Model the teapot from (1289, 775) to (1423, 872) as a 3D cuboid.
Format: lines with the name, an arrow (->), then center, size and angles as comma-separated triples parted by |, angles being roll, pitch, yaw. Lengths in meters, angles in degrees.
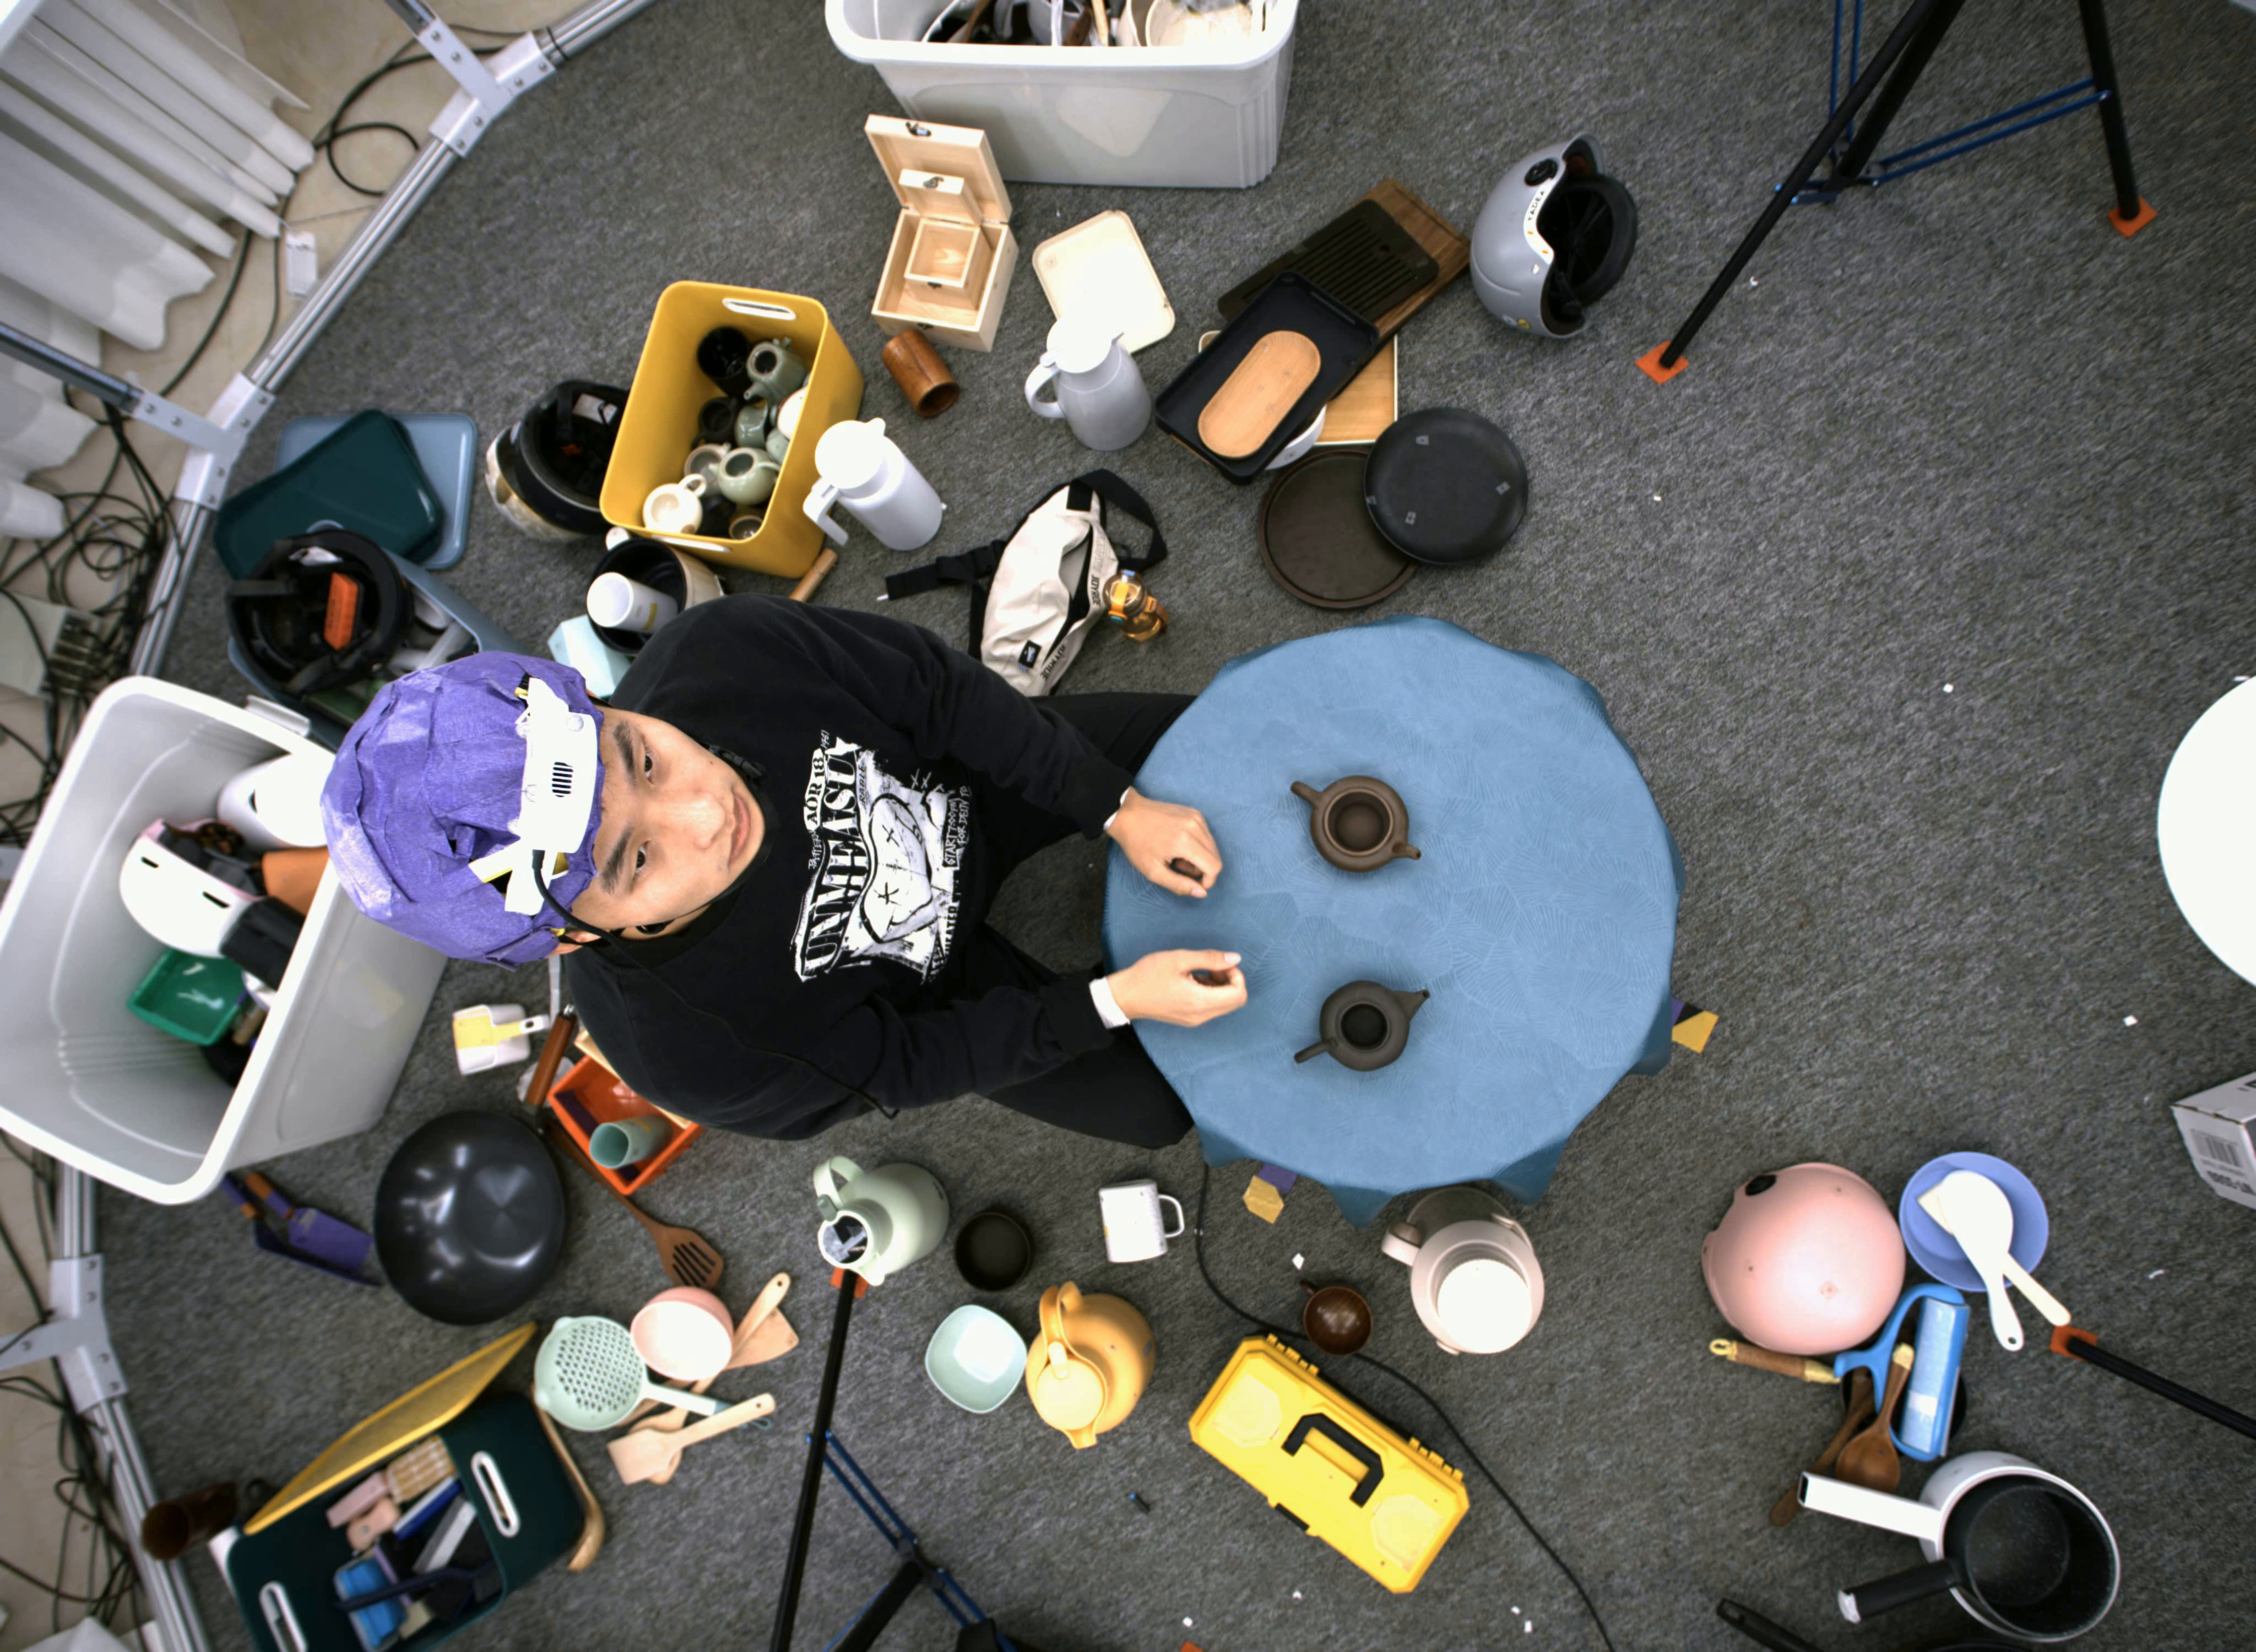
teapot -> 0.237, -0.005, 1.443 | 0.153, 0.054, 0.102 | 25, 89, 10

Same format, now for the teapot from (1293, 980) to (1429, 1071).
teapot -> 0.241, 0.205, 1.428 | 0.155, 0.064, 0.091 | -27, 80, 8
